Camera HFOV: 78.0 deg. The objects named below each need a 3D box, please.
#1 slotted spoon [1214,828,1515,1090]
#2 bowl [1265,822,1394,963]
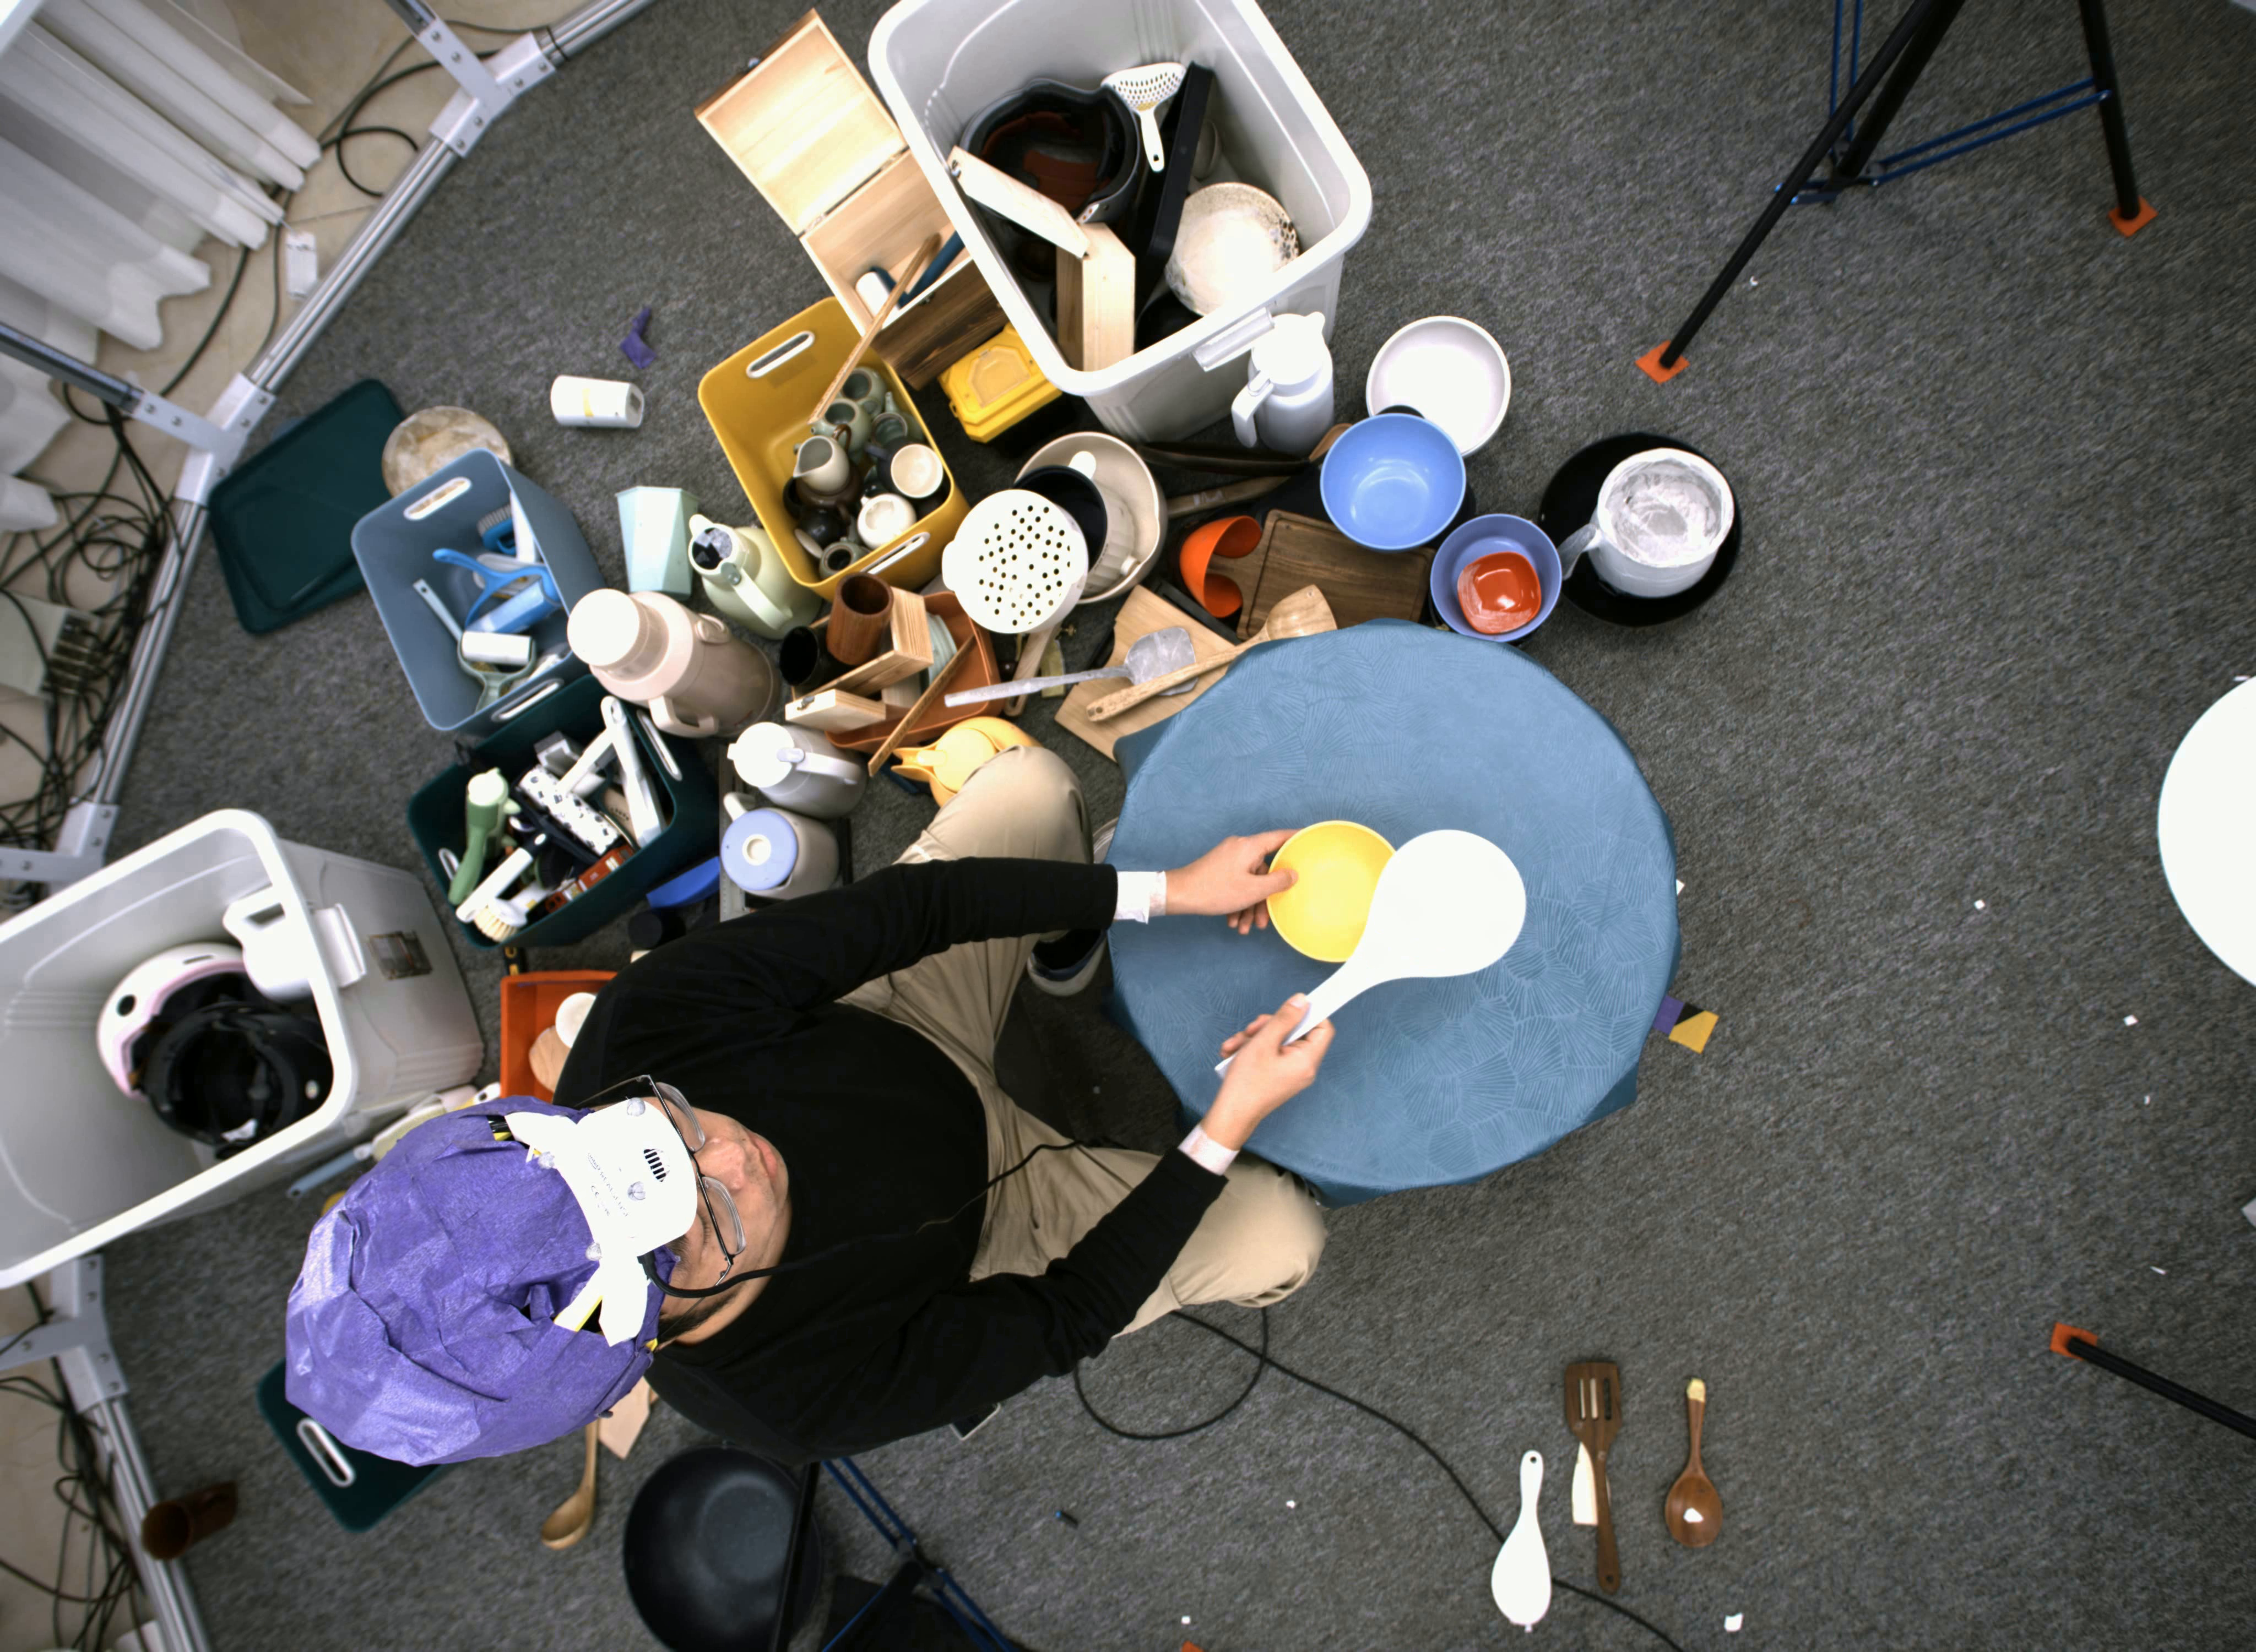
[{"bbox_3d":[0.221,0.139,1.340,0.352,0.046,0.134,-40,69,8],"label":"slotted spoon"},{"bbox_3d":[0.218,0.070,1.445,0.146,0.060,0.144,-1,85,13],"label":"bowl"}]
